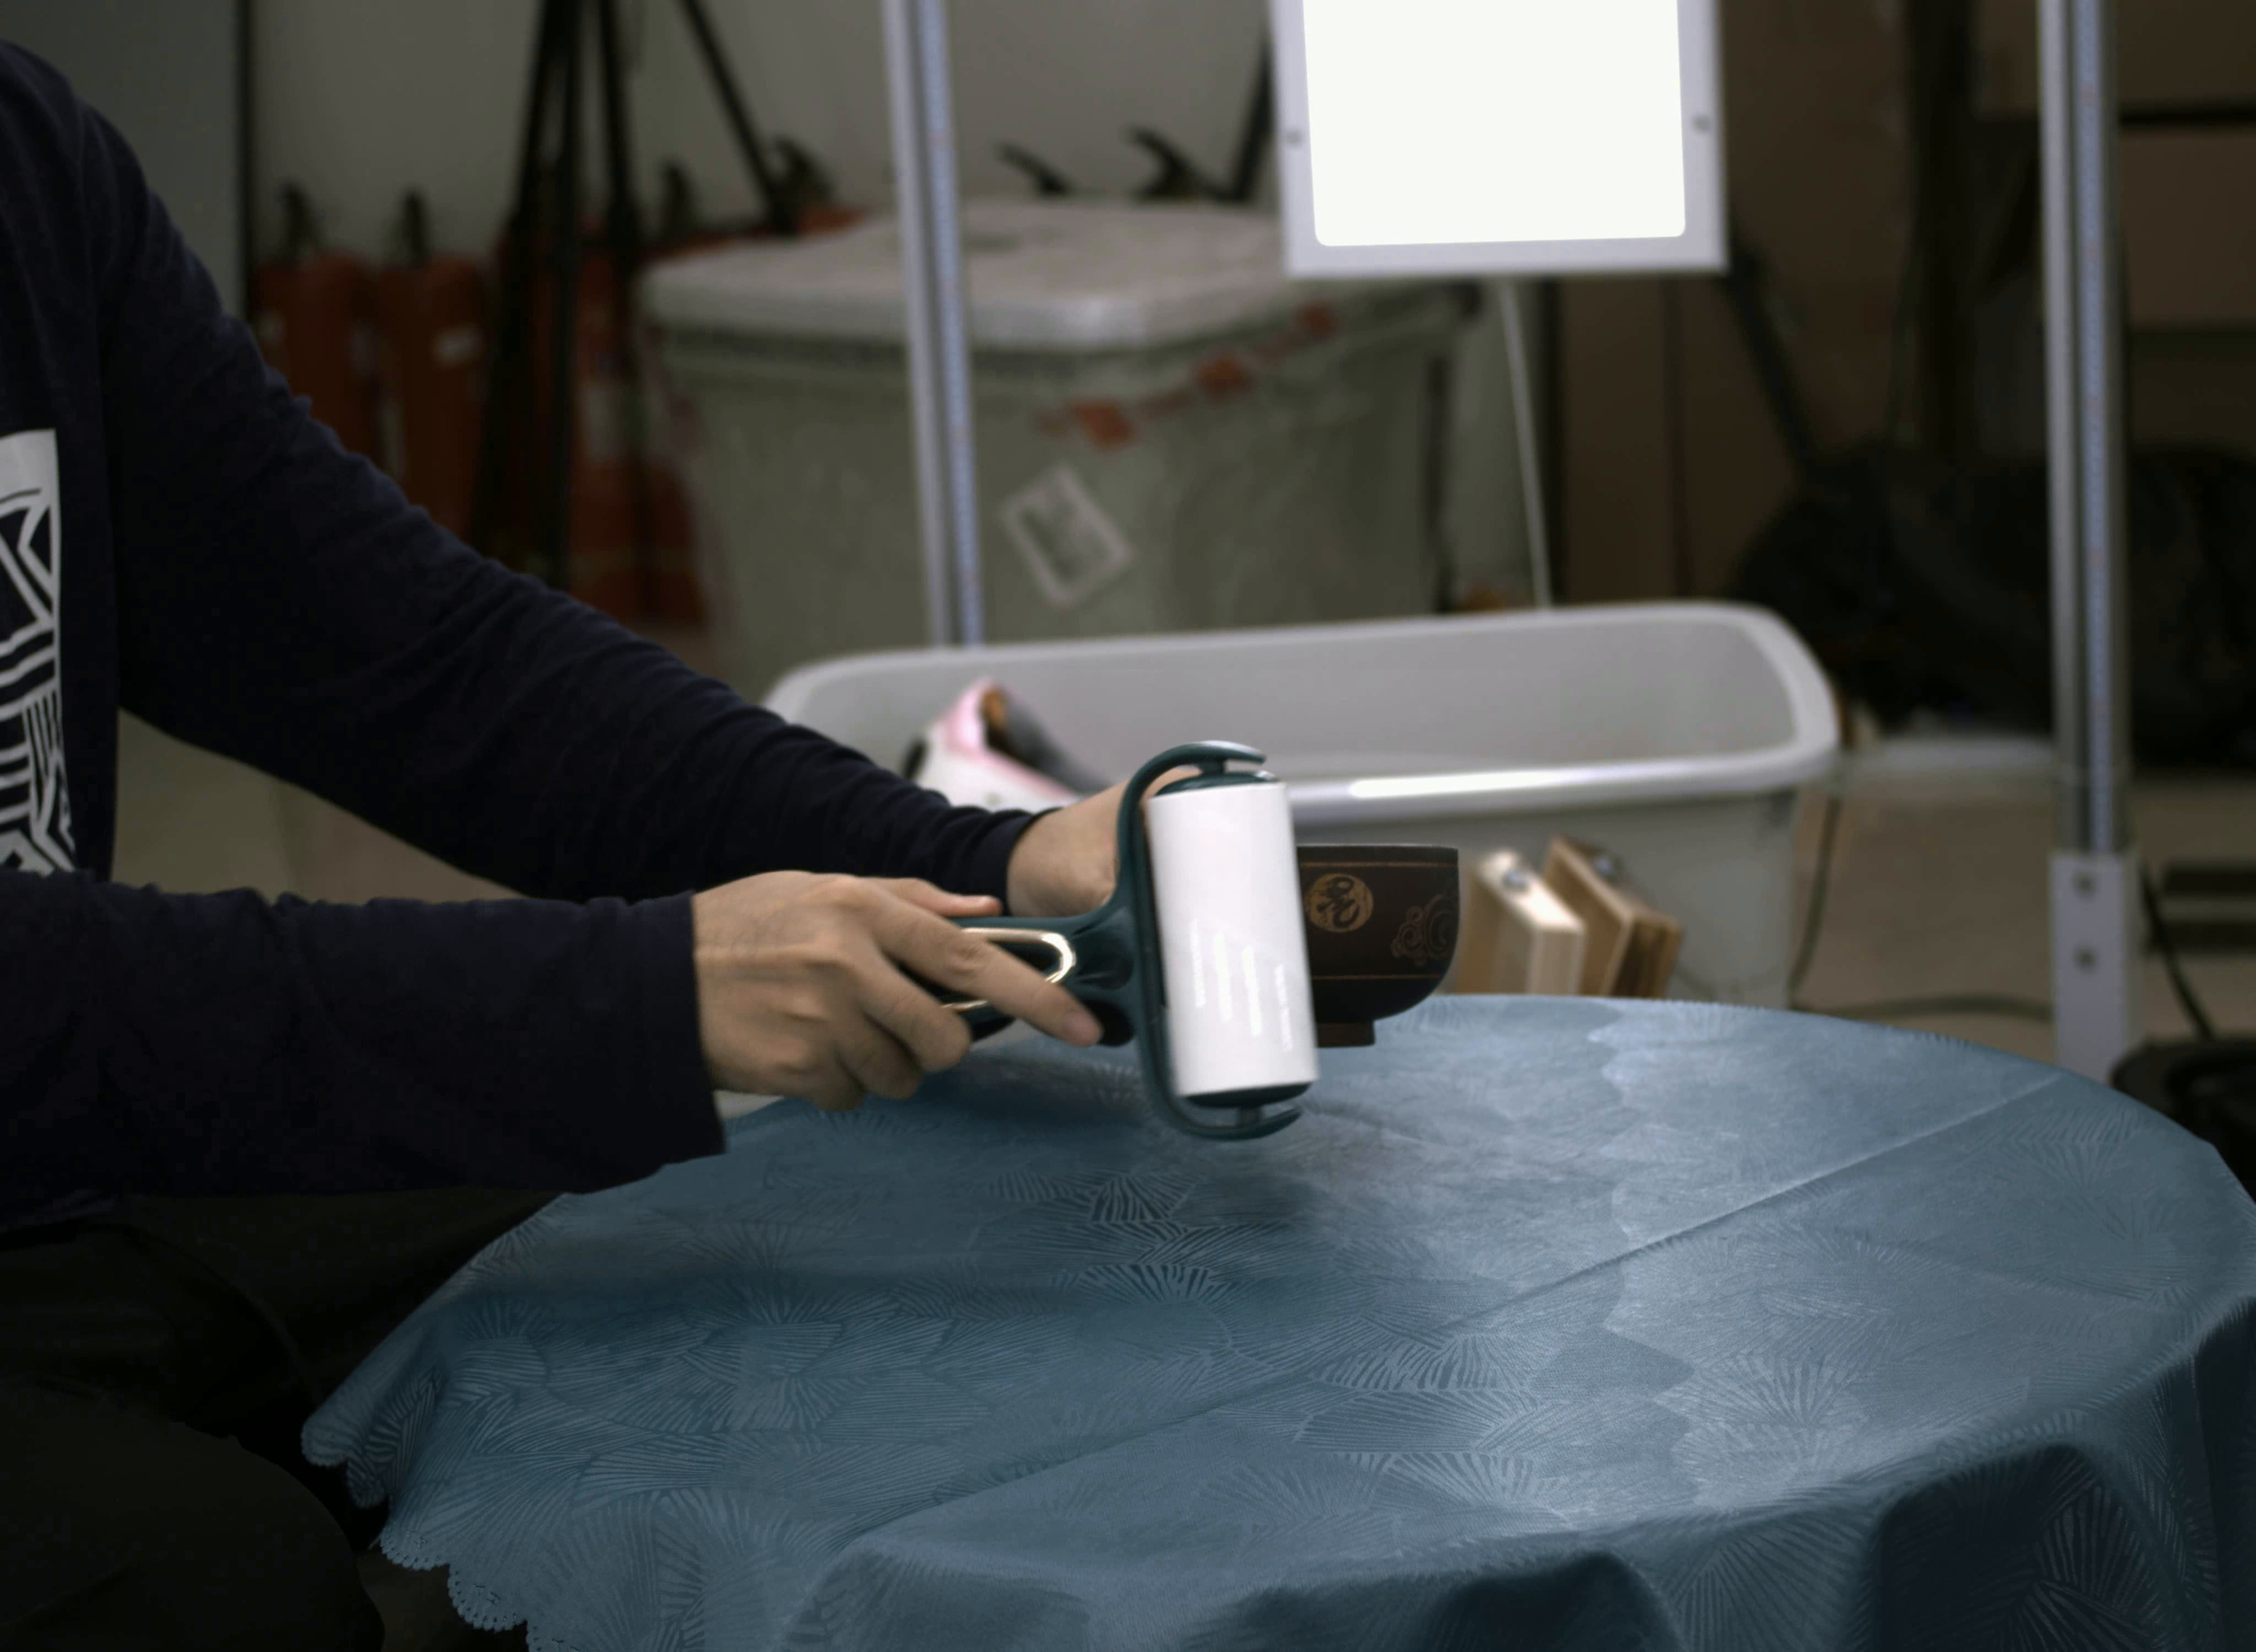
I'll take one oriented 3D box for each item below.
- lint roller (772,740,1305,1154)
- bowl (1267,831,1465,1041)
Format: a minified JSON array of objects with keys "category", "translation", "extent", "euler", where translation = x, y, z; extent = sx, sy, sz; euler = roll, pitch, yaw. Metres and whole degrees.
[{"category":"lint roller","translation":[-0.035,0.048,1.828],"extent":[0.181,0.135,0.048],"euler":[-7,-3,10]},{"category":"bowl","translation":[0.058,0.039,1.891],"extent":[0.117,0.070,0.118],"euler":[-3,-1,-1]}]
